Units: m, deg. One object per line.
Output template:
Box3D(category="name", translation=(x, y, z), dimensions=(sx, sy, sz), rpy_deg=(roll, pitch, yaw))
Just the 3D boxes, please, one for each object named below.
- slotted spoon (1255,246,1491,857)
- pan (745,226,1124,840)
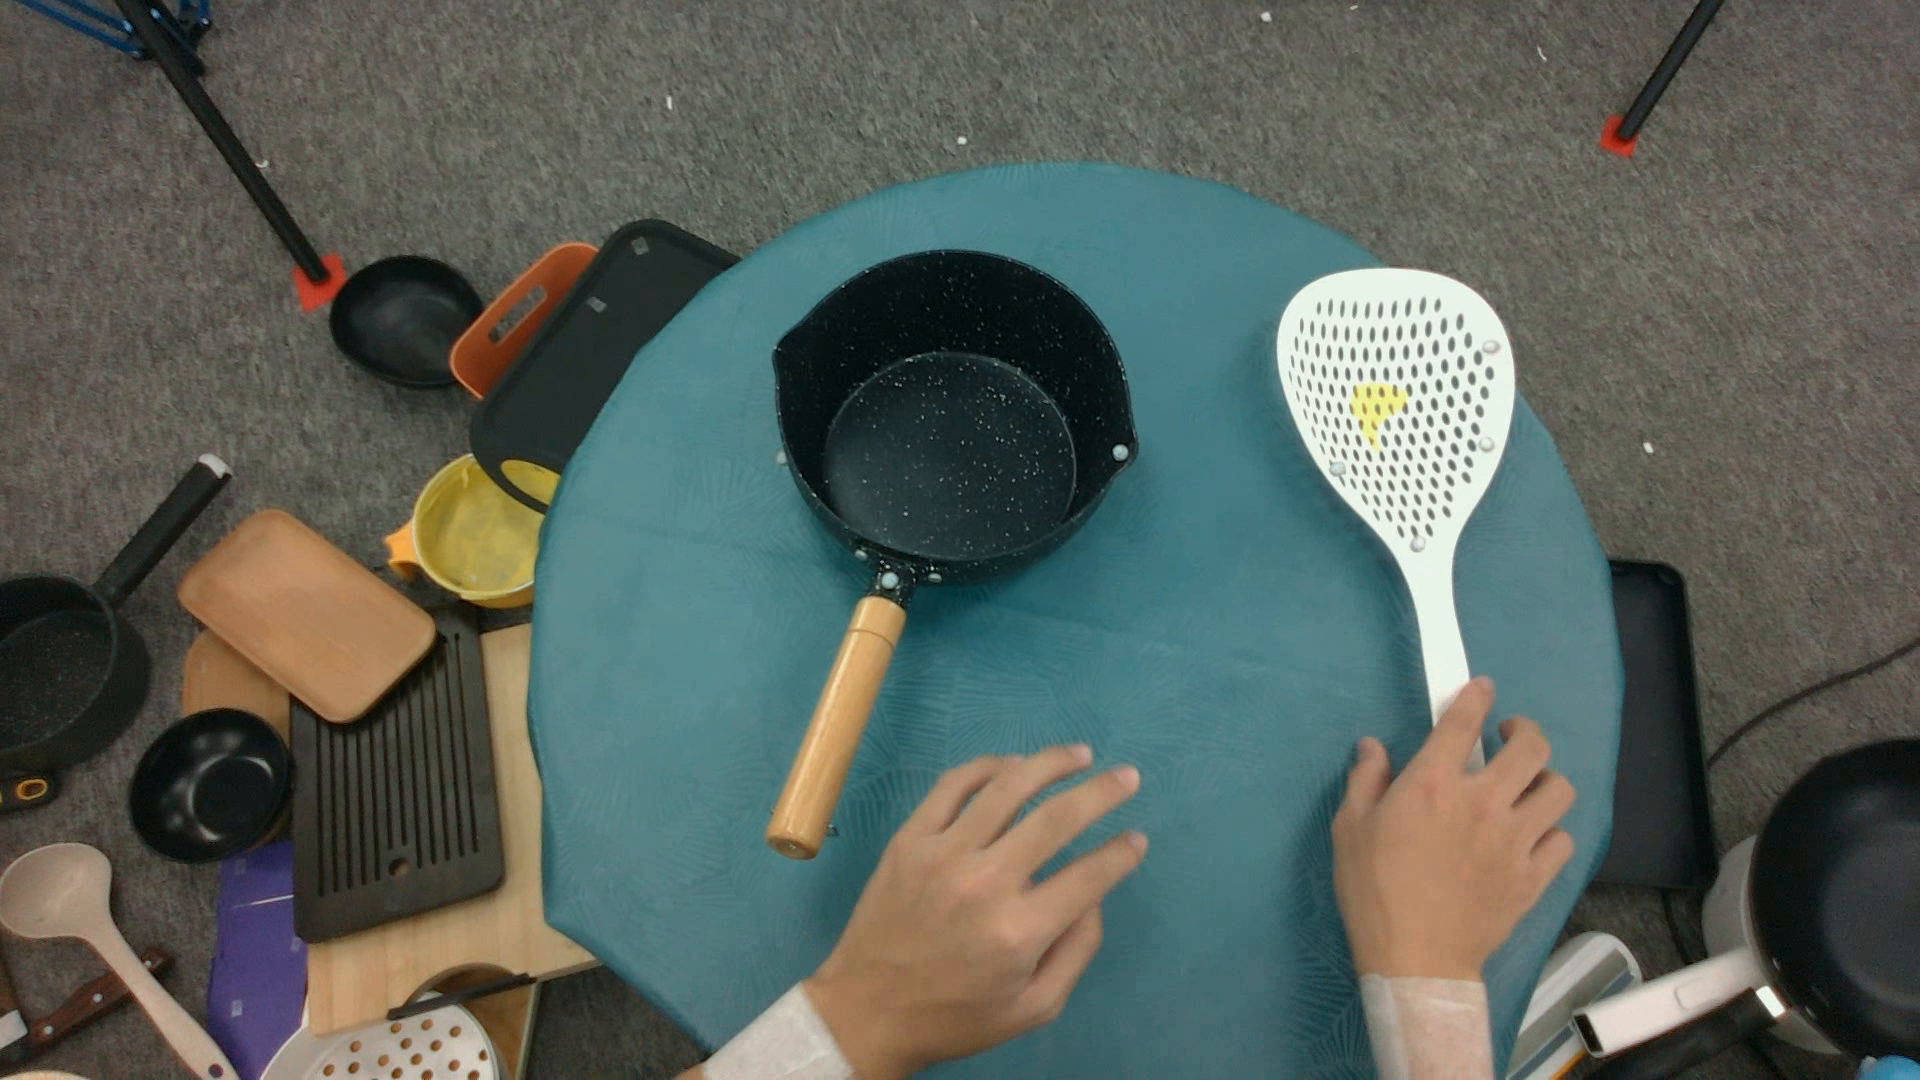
Box3D(category="slotted spoon", translation=(0.245, -0.004, 0.759), dimensions=(0.137, 0.050, 0.349), rpy_deg=(-3, 67, -6))
Box3D(category="pan", translation=(-0.034, -0.002, 0.711), dimensions=(0.207, 0.108, 0.344), rpy_deg=(15, 67, 3))
